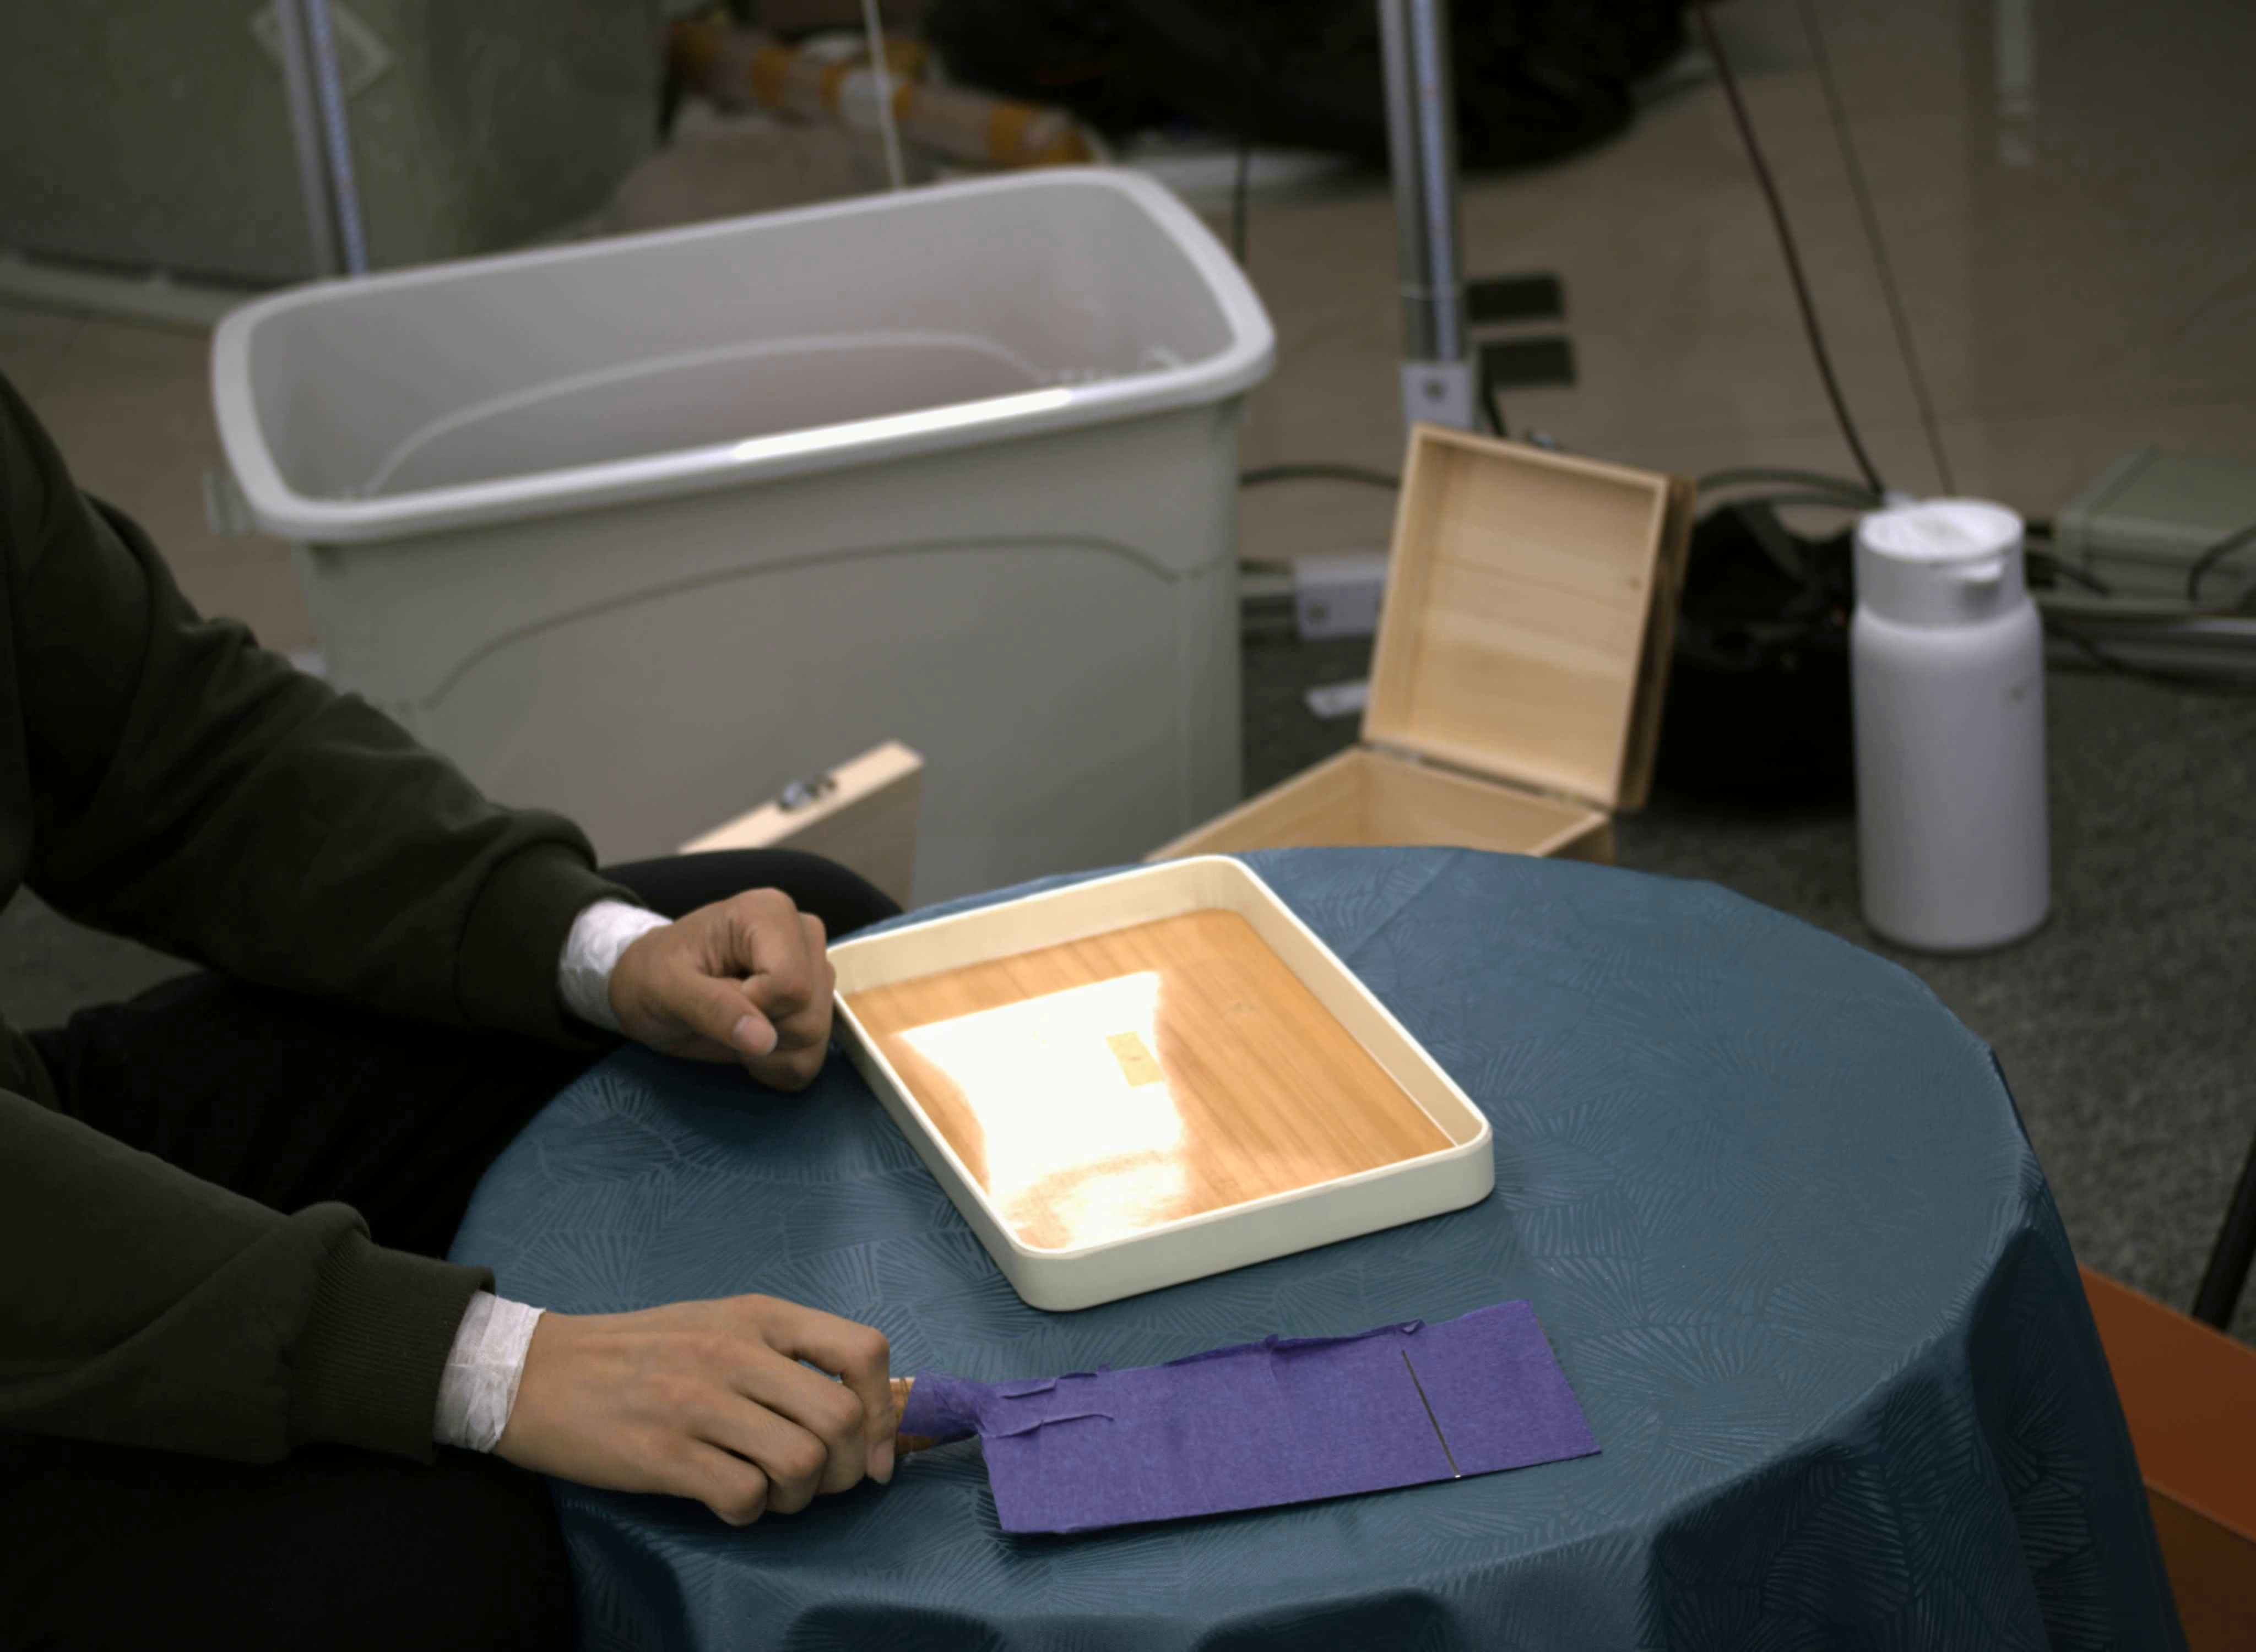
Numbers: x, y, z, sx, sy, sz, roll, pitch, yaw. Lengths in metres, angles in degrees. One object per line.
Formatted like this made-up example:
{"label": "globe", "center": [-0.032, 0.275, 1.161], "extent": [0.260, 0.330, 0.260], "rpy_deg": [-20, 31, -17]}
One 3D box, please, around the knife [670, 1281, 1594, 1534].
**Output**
{"label": "knife", "center": [0.001, 0.208, 1.965], "extent": [0.314, 0.033, 0.102], "rpy_deg": [-9, 29, -7]}

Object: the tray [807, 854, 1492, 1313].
{"label": "tray", "center": [0.003, 0.095, 2.213], "extent": [0.191, 0.028, 0.296], "rpy_deg": [-14, 26, -15]}
